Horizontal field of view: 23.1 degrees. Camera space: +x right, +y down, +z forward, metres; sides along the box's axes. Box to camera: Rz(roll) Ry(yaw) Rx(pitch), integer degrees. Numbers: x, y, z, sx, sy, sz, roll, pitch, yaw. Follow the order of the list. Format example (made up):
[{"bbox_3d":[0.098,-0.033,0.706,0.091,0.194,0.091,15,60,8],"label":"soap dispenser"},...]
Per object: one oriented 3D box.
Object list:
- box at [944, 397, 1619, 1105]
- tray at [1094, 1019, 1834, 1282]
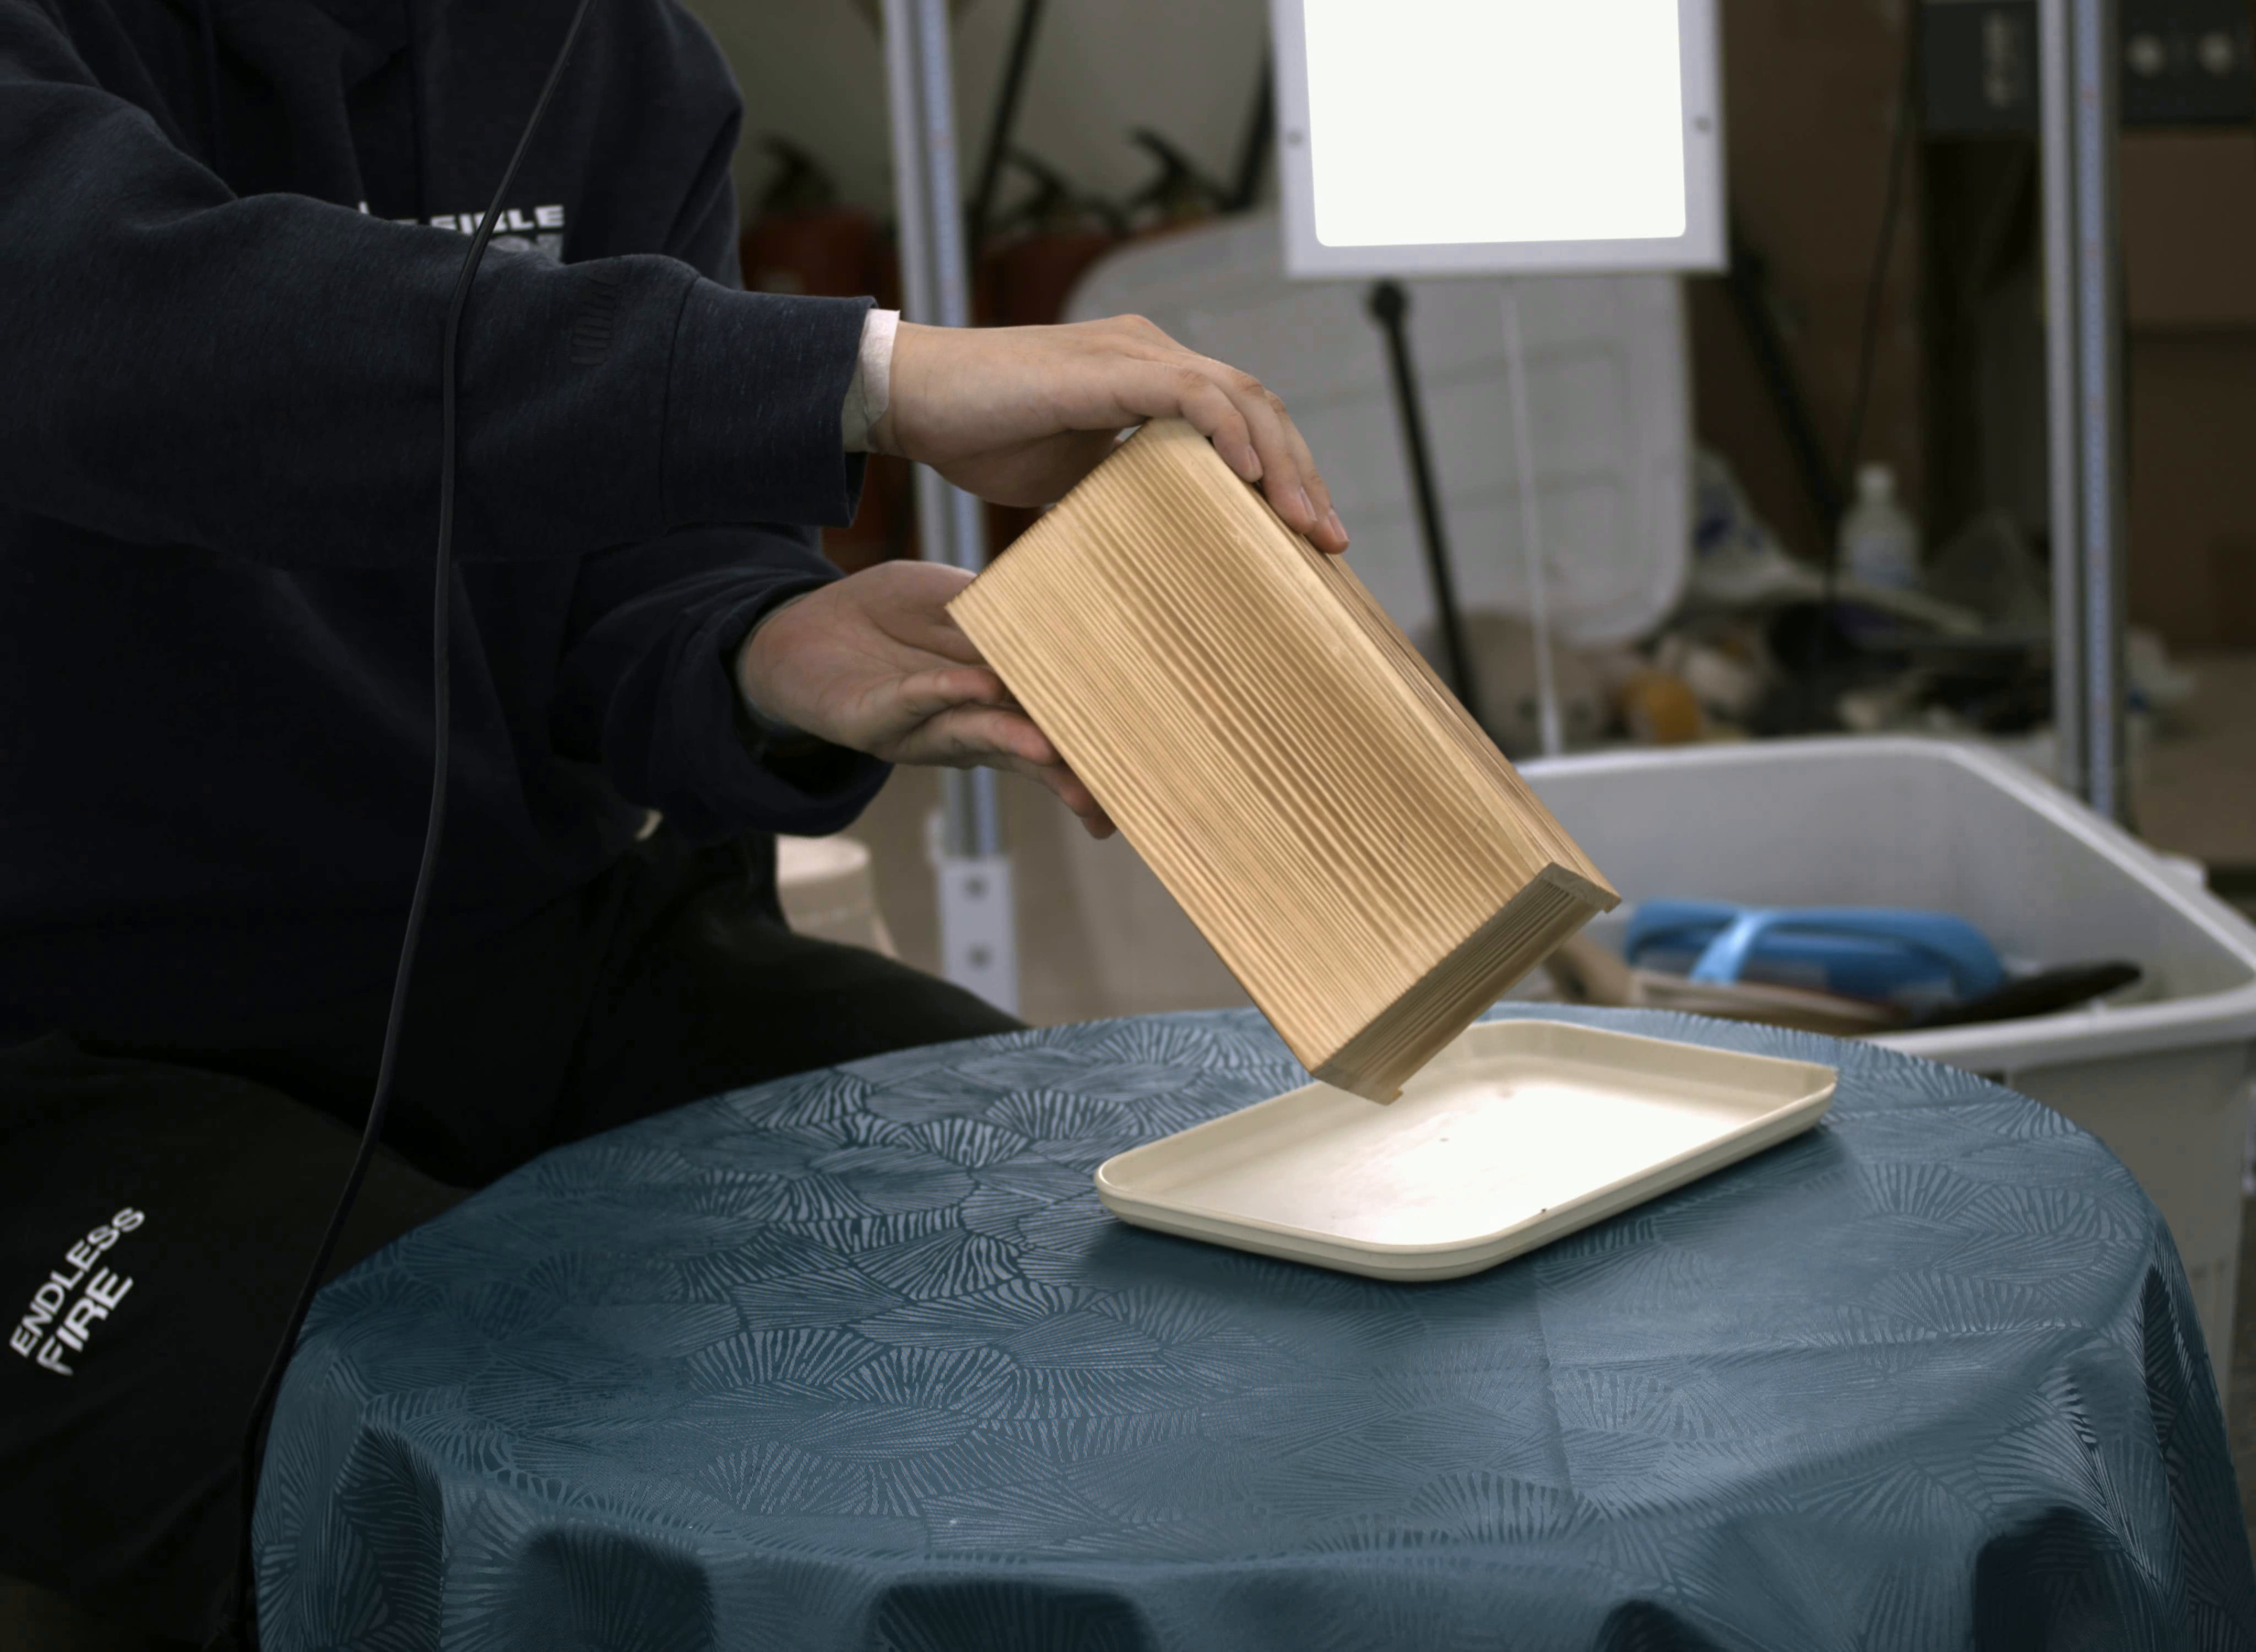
[{"bbox_3d":[0.050,-0.025,1.818,0.108,0.213,0.079,-42,-23,11],"label":"box"},{"bbox_3d":[0.118,0.110,1.888,0.175,0.017,0.233,7,18,44],"label":"tray"}]
